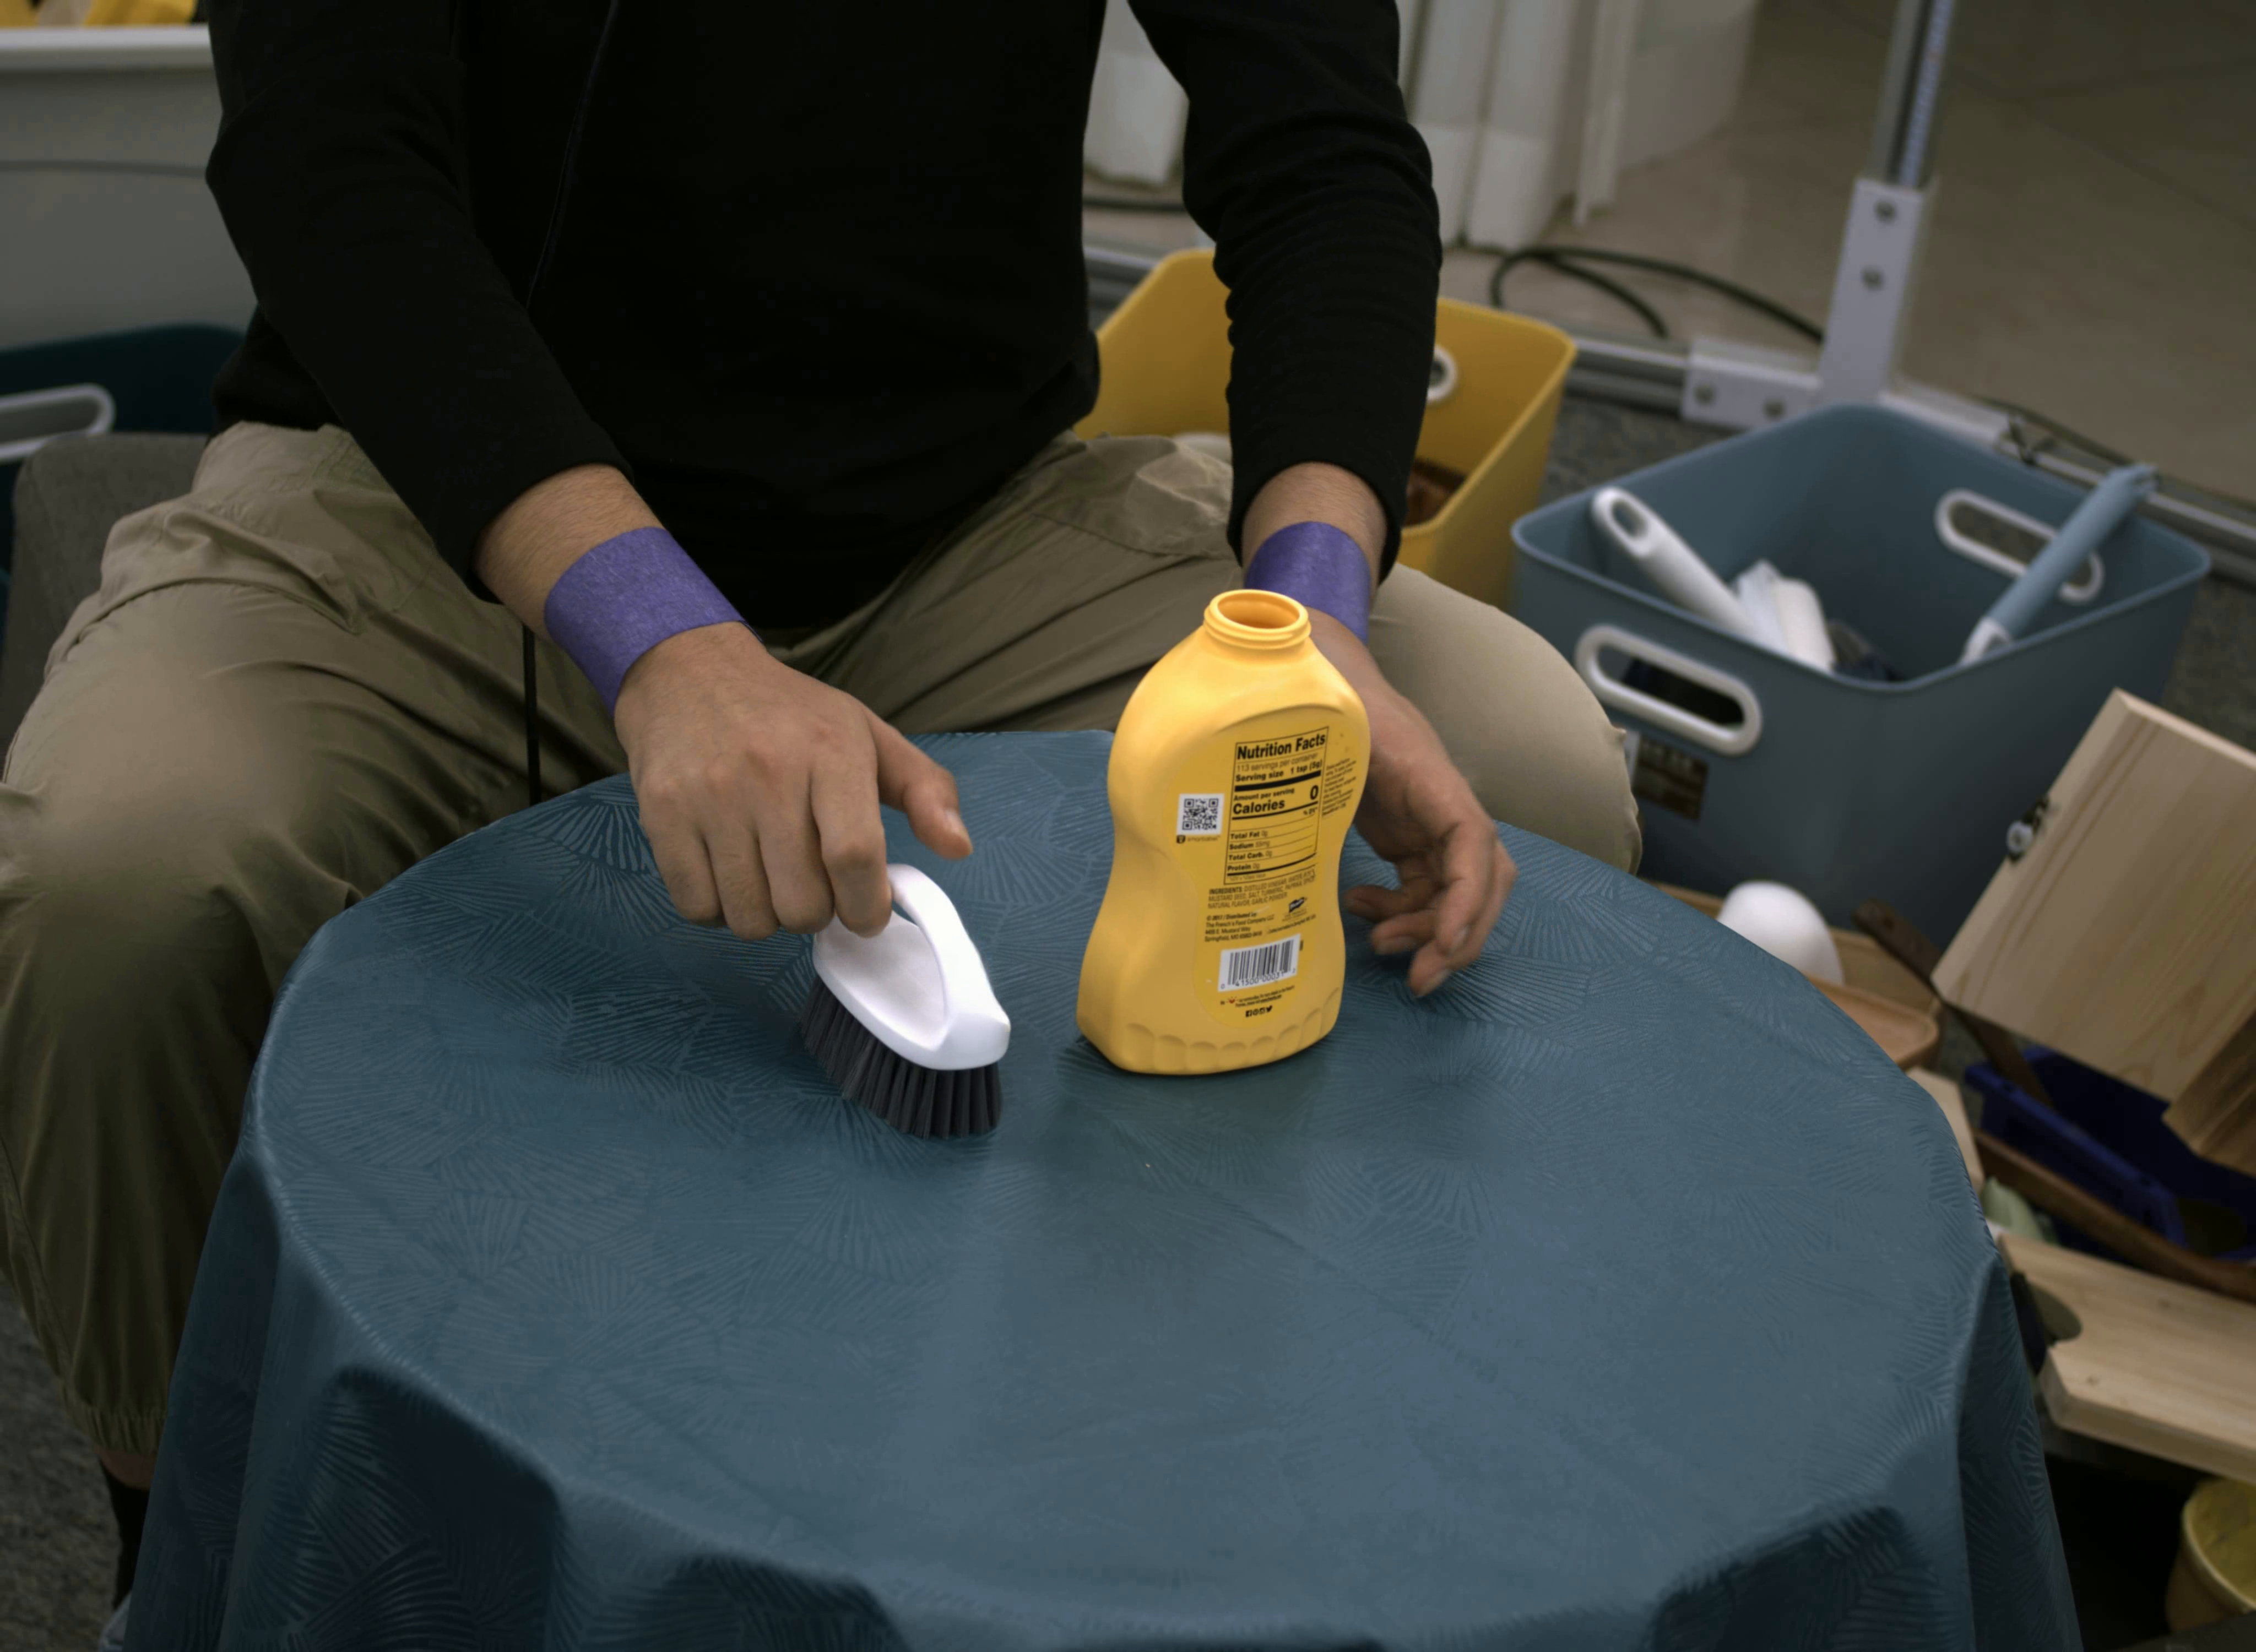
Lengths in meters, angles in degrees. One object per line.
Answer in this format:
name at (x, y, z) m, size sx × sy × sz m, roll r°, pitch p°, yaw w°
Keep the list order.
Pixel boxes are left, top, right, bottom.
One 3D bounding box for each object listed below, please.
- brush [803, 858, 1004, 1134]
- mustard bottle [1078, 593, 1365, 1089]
brush at (-0.076, 0.052, 1.842) m, size 0.050 × 0.072 × 0.100 m, roll -6°, pitch 30°, yaw -27°
mustard bottle at (0.034, 0.004, 1.860) m, size 0.097 × 0.171 × 0.060 m, roll -12°, pitch 27°, yaw -31°
